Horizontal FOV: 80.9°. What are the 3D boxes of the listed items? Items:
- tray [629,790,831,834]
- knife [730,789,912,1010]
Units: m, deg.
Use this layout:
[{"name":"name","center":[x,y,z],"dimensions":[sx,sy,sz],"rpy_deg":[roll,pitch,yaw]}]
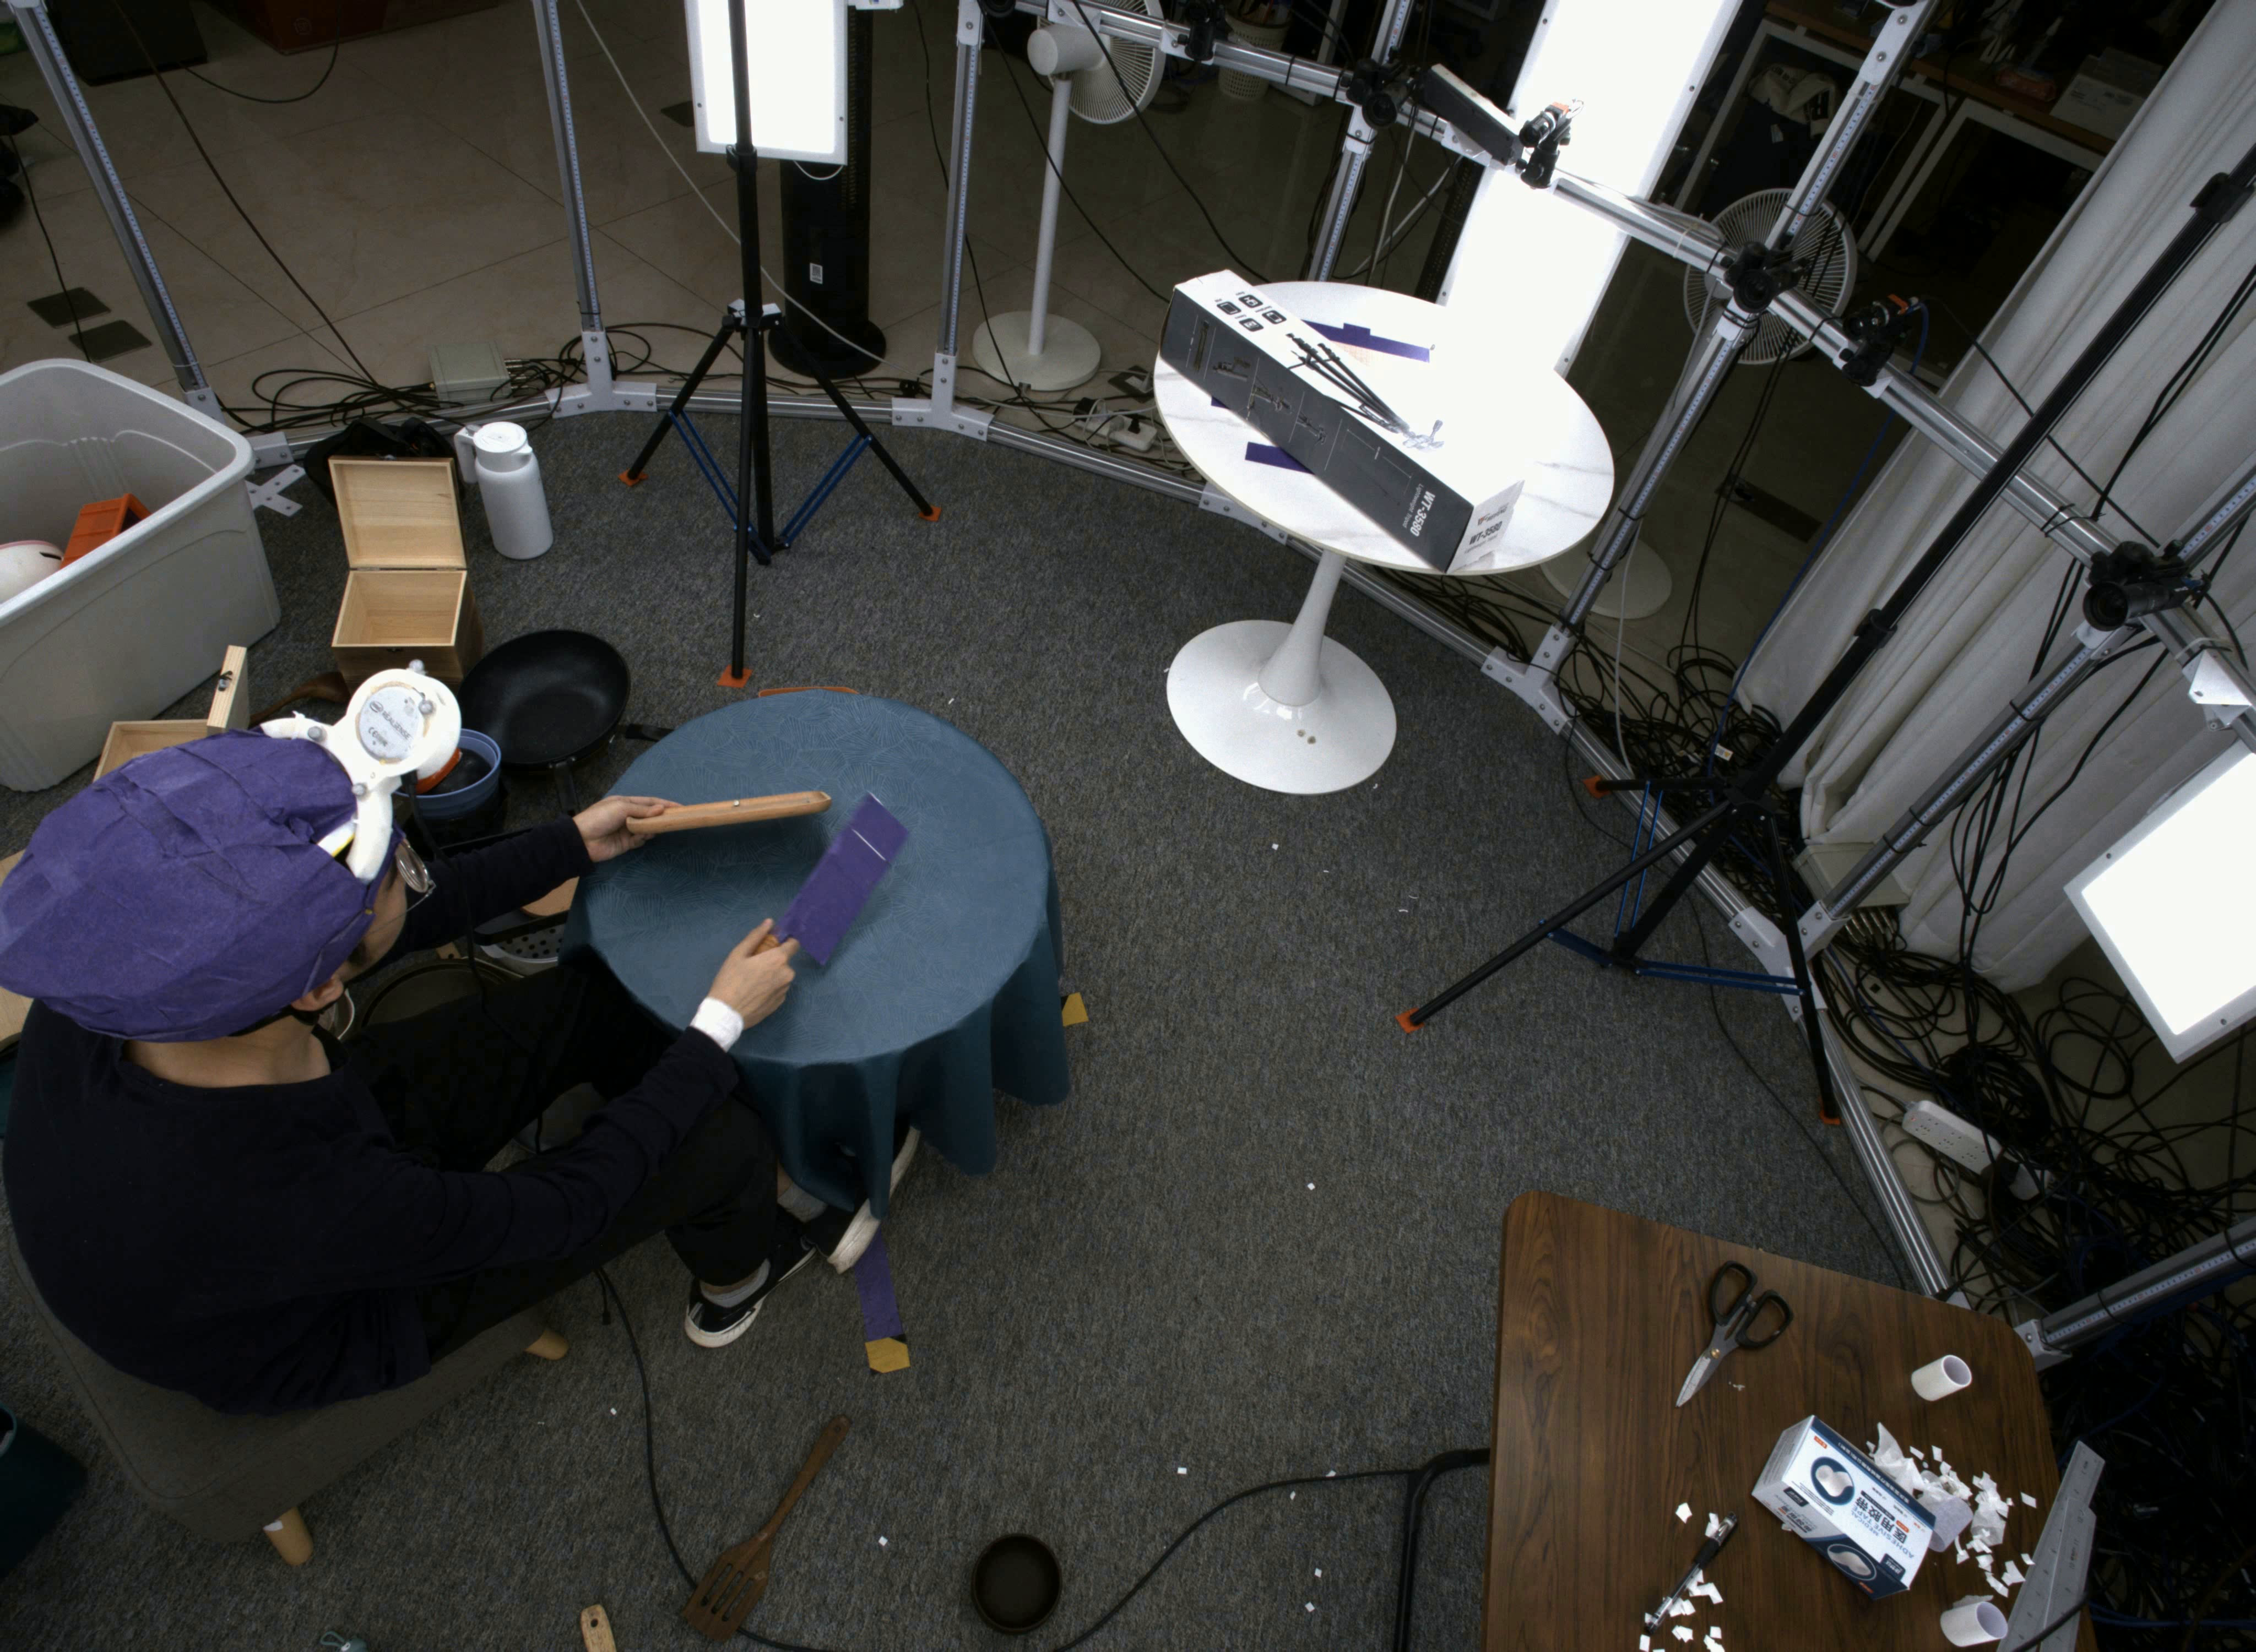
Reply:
[{"name":"tray","center":[-0.508,-0.021,1.651],"dimensions":[0.251,0.127,0.023],"rpy_deg":[-8,98,-19]},{"name":"knife","center":[-0.367,0.104,1.598],"dimensions":[0.031,0.108,0.314],"rpy_deg":[9,57,41]}]
